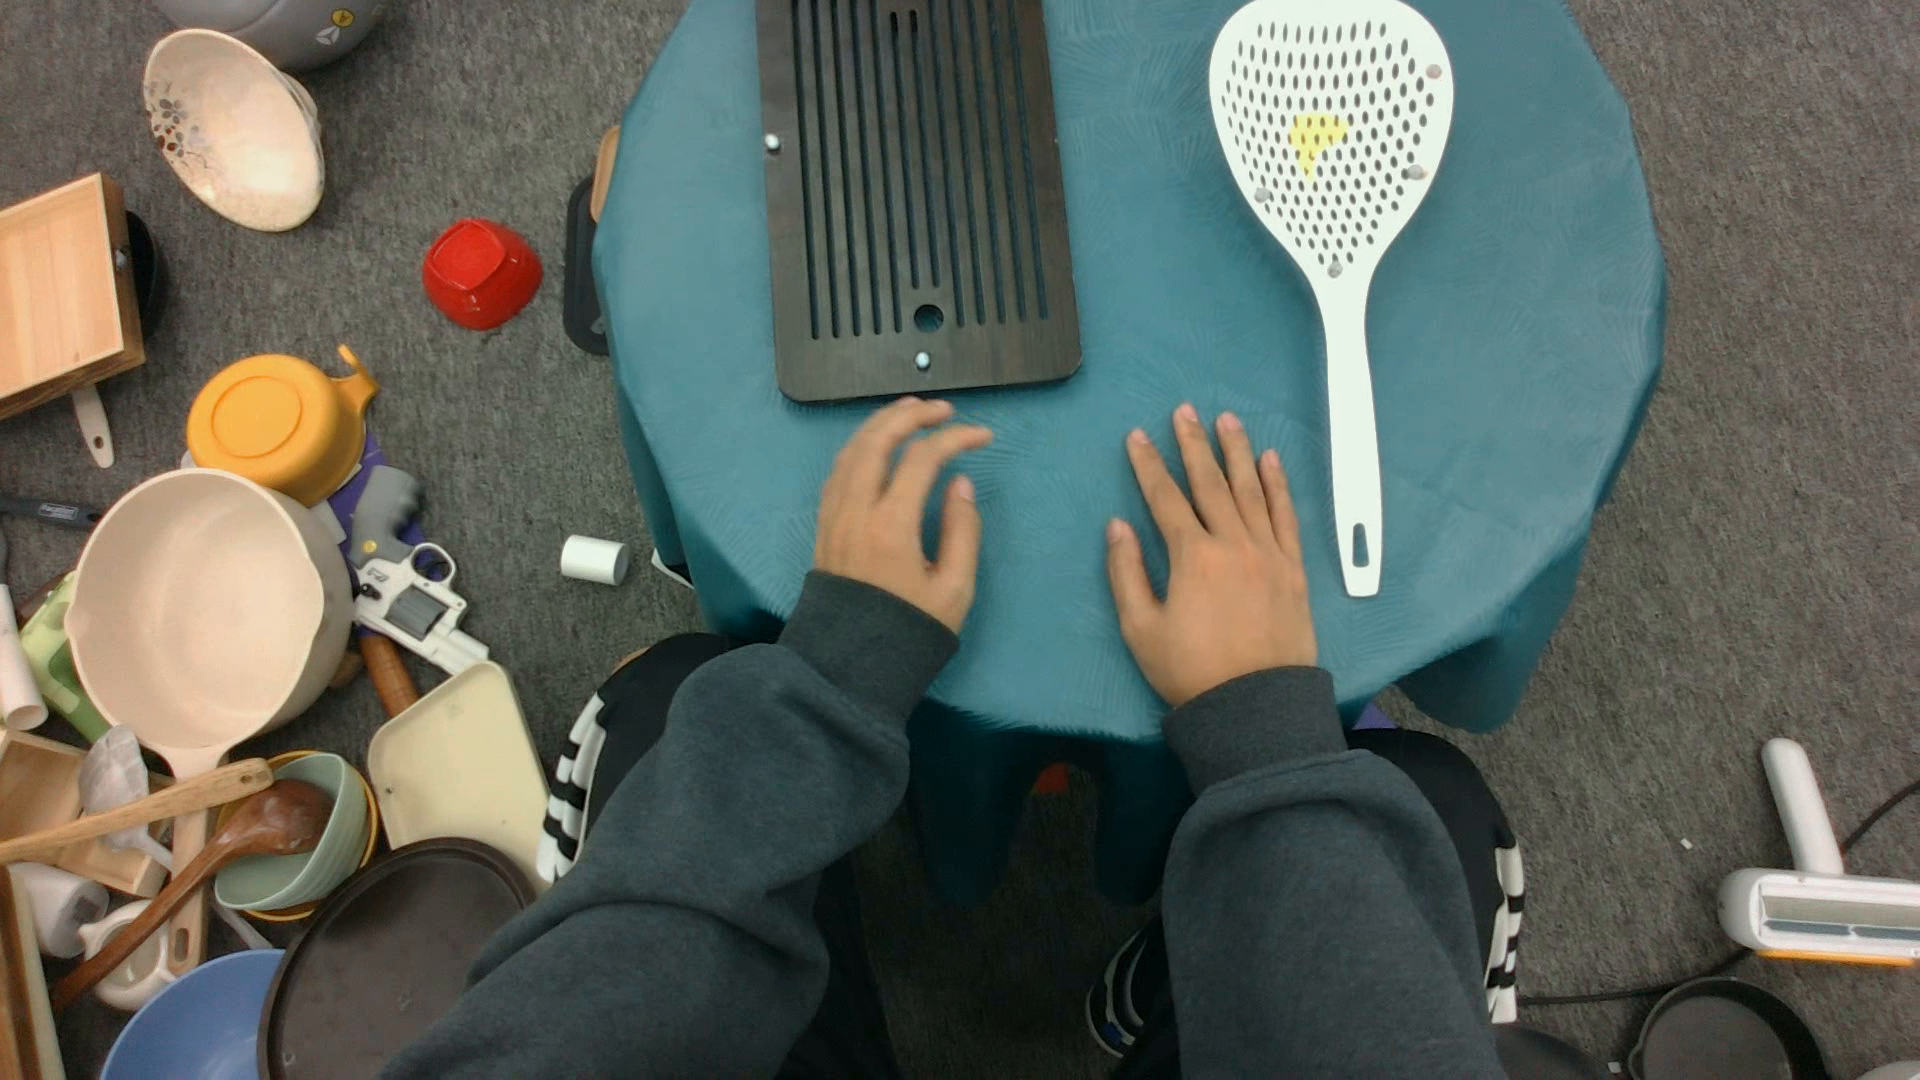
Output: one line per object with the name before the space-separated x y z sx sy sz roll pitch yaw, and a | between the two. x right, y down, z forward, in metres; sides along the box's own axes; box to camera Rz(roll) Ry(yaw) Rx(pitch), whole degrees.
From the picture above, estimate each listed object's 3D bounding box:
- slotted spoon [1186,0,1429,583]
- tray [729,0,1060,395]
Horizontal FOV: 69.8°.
slotted spoon | 0.198 -0.150 0.758 0.137 0.050 0.349 -2 74 -2
tray | -0.043 -0.231 0.796 0.170 0.018 0.306 -6 74 -1
